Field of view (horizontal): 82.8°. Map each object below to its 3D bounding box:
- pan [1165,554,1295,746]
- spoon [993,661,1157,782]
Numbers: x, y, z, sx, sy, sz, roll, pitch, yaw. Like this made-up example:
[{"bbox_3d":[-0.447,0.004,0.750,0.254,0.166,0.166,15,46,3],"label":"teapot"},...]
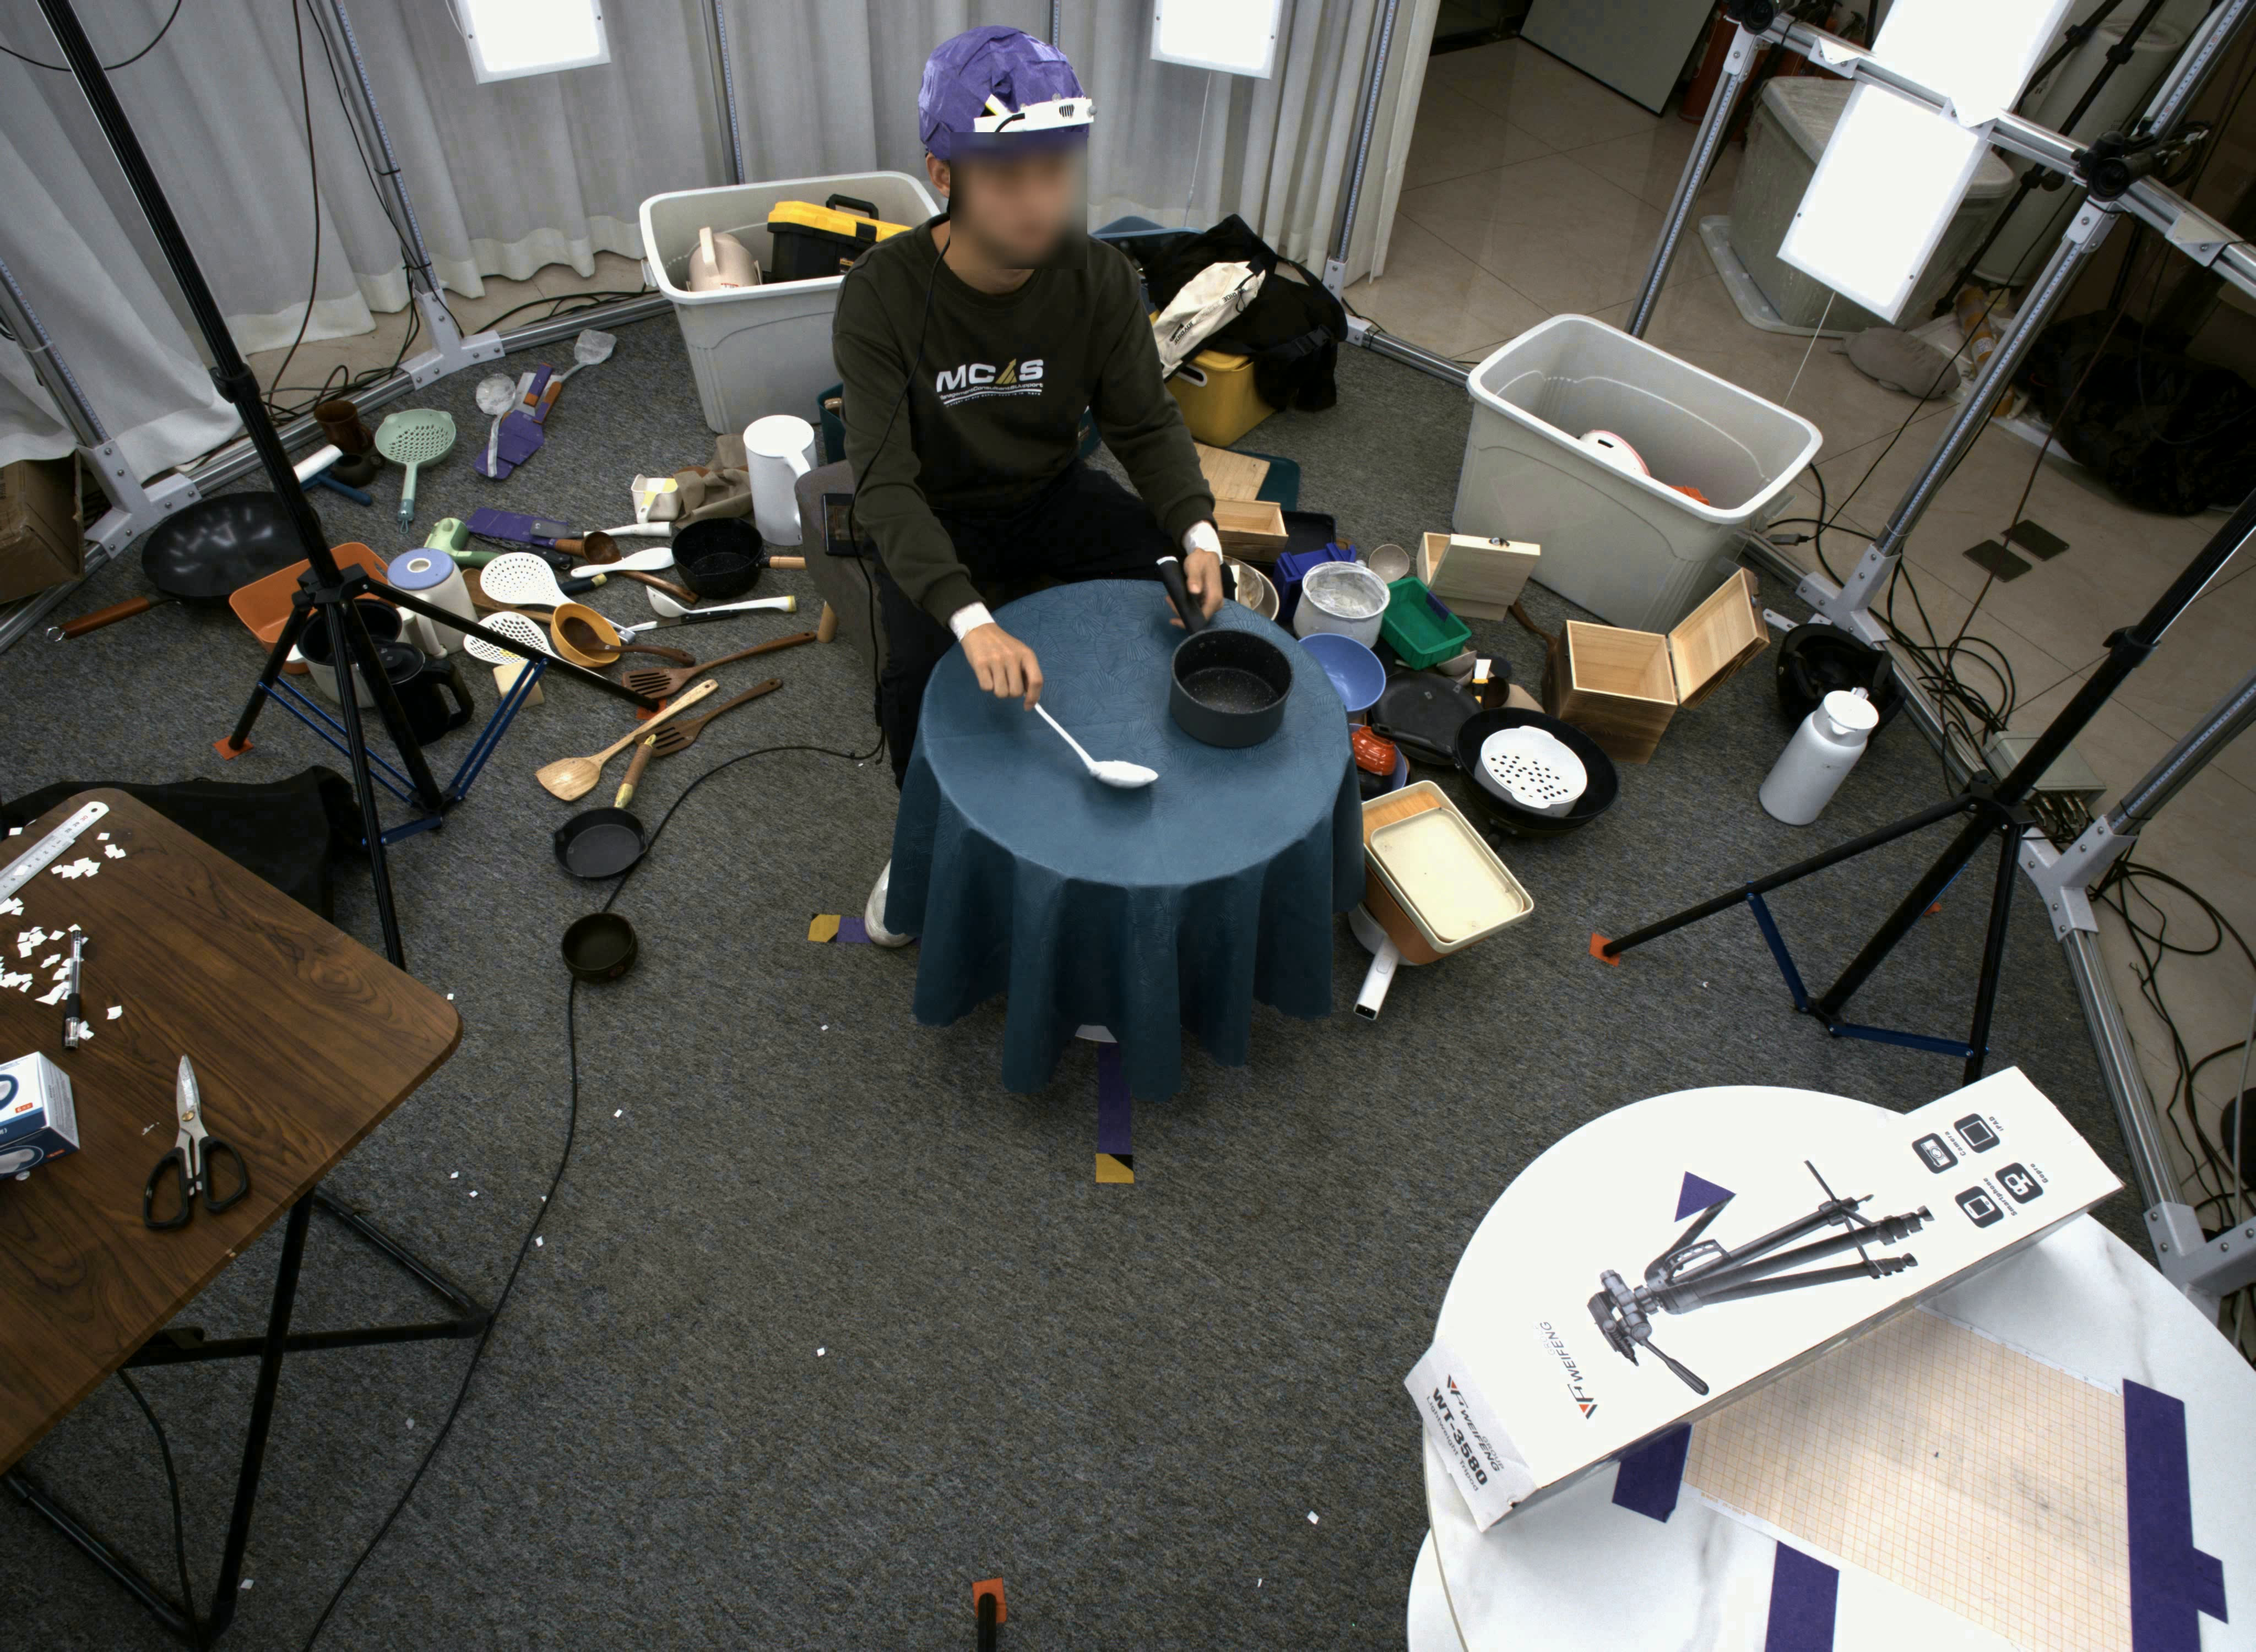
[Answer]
[{"bbox_3d":[0.117,-0.254,1.841,0.172,0.084,0.336,-11,52,-15],"label":"pan"},{"bbox_3d":[-0.073,-0.147,1.726,0.059,0.100,0.280,-47,73,11],"label":"spoon"}]
